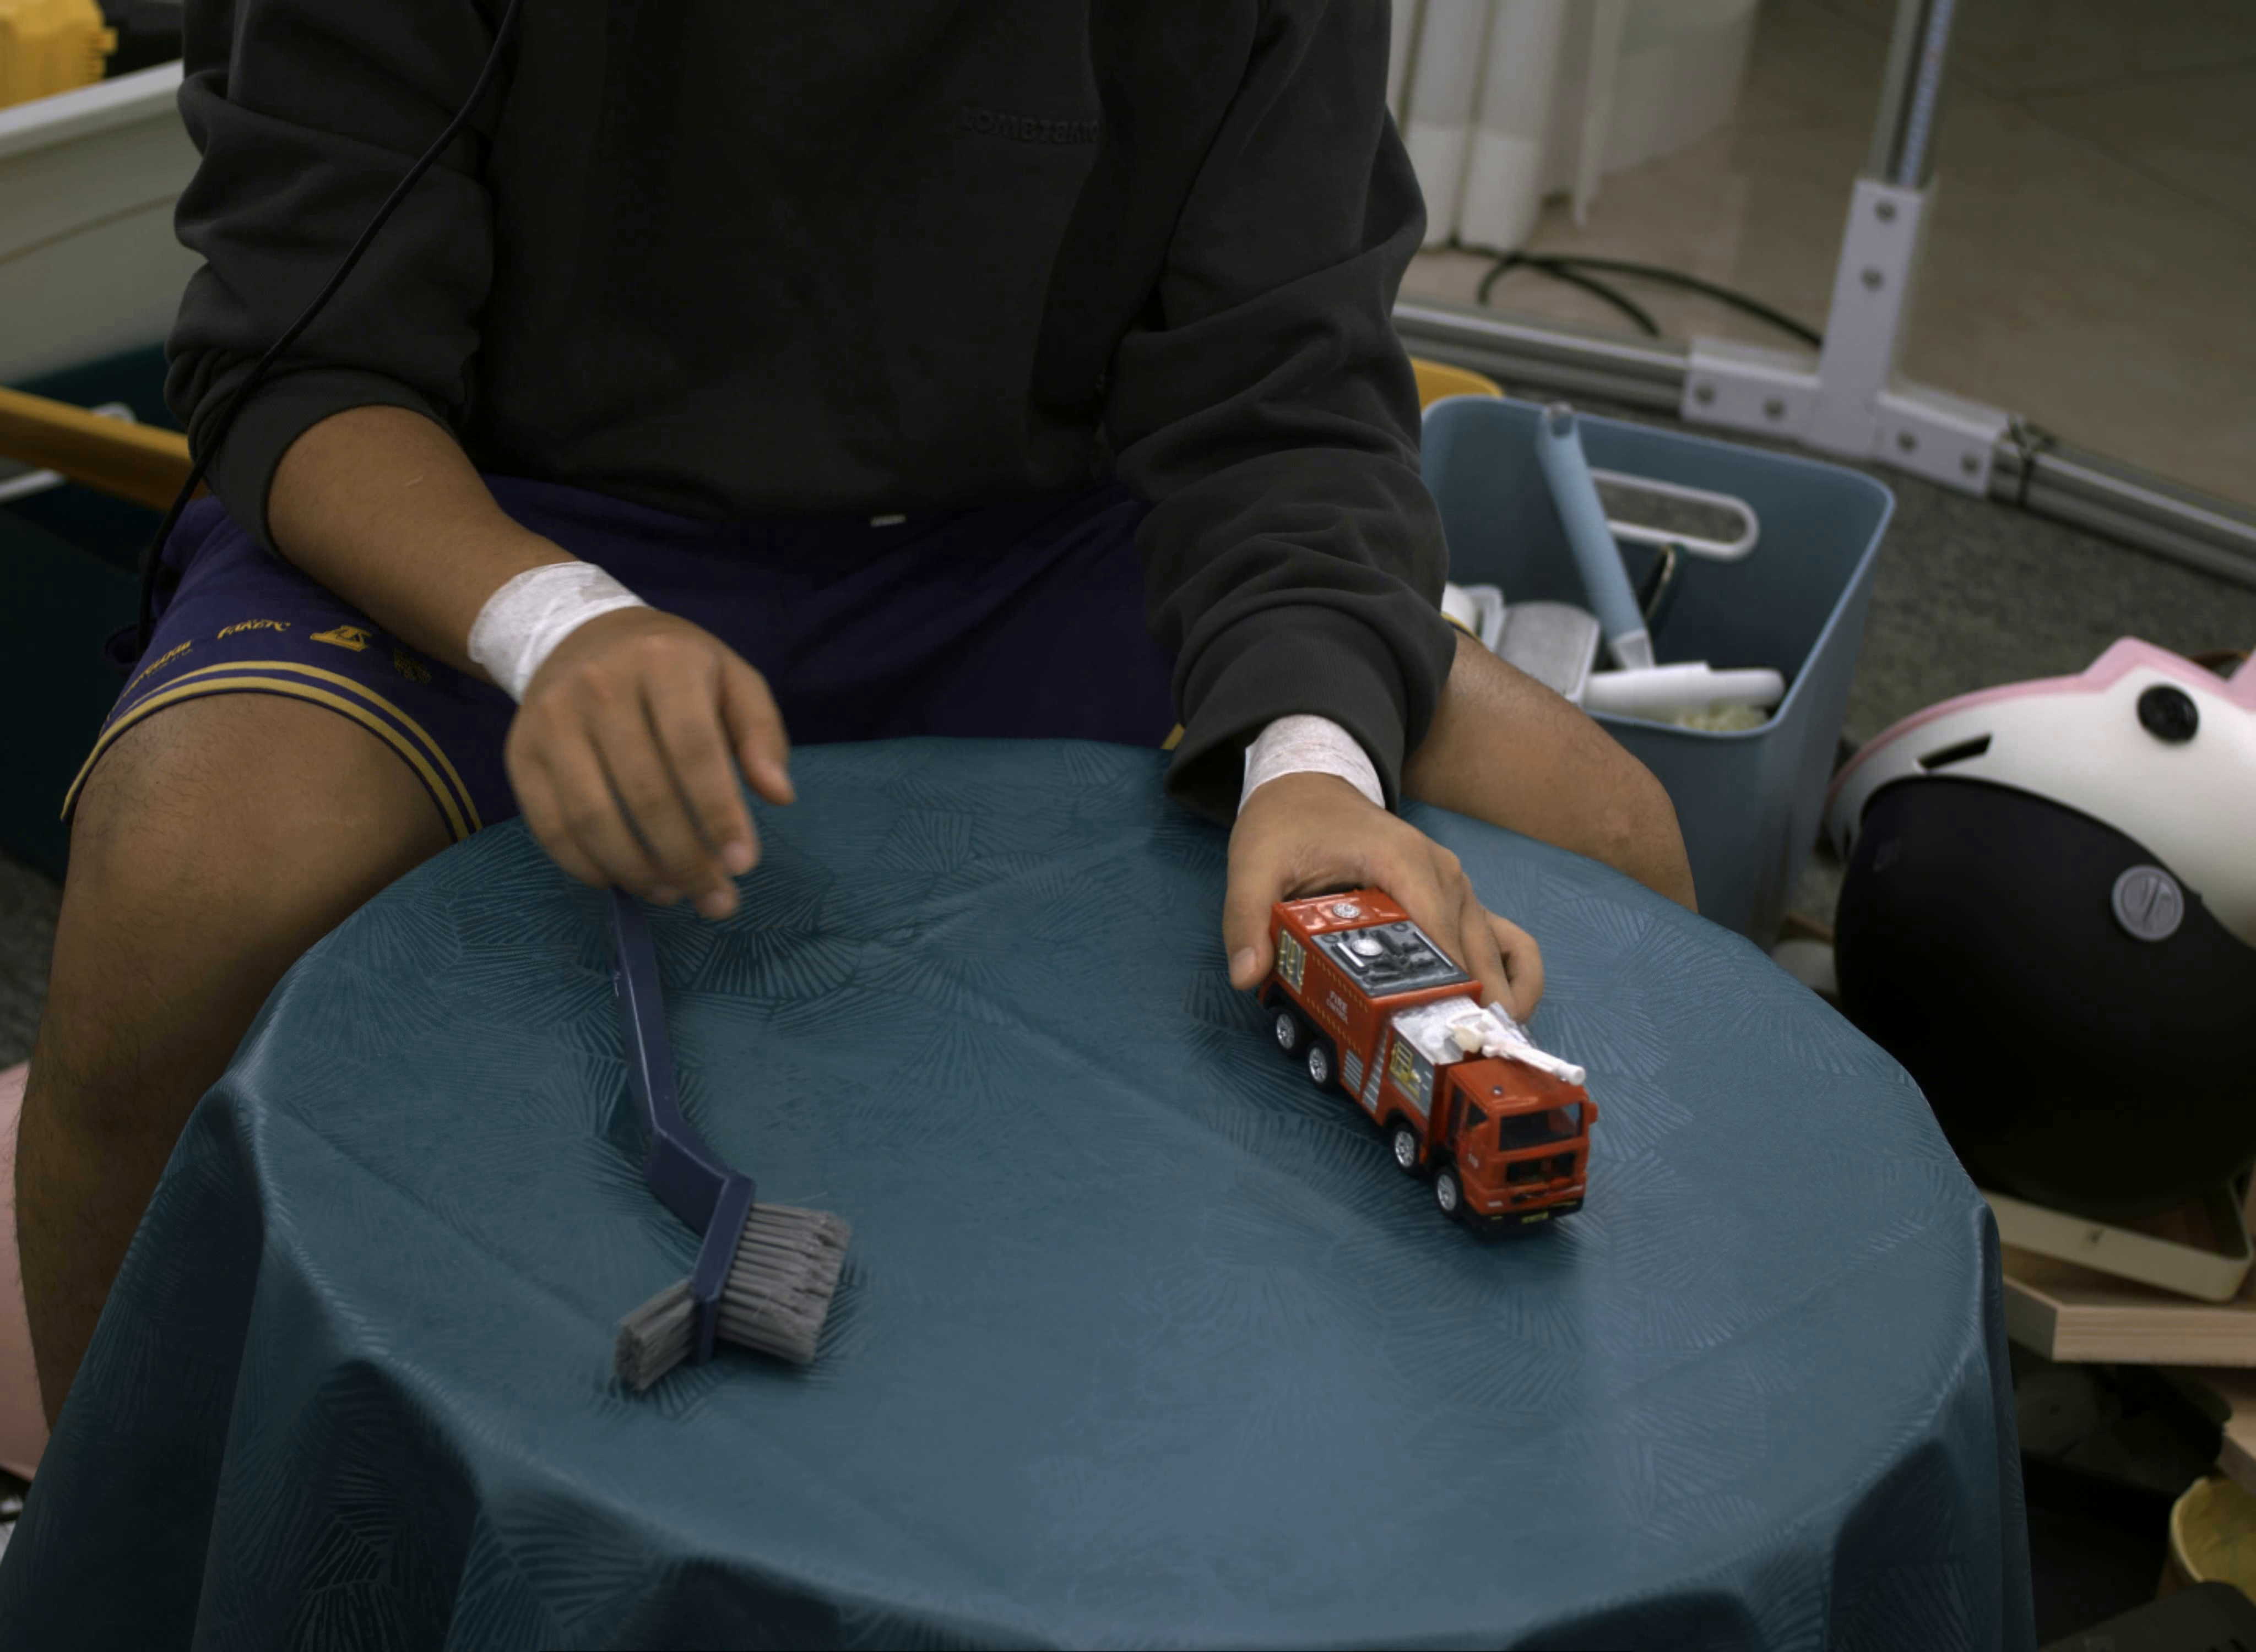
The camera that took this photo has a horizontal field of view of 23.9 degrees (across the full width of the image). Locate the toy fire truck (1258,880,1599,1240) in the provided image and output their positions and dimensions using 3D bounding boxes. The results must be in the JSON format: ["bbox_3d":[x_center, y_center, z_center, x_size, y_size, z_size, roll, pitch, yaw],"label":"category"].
[{"bbox_3d":[0.104,0.080,1.846,0.053,0.070,0.169,-8,30,-27],"label":"toy fire truck"}]

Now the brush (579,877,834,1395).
[{"bbox_3d":[-0.162,0.099,1.779,0.095,0.033,0.275,-4,30,-17],"label":"brush"}]
